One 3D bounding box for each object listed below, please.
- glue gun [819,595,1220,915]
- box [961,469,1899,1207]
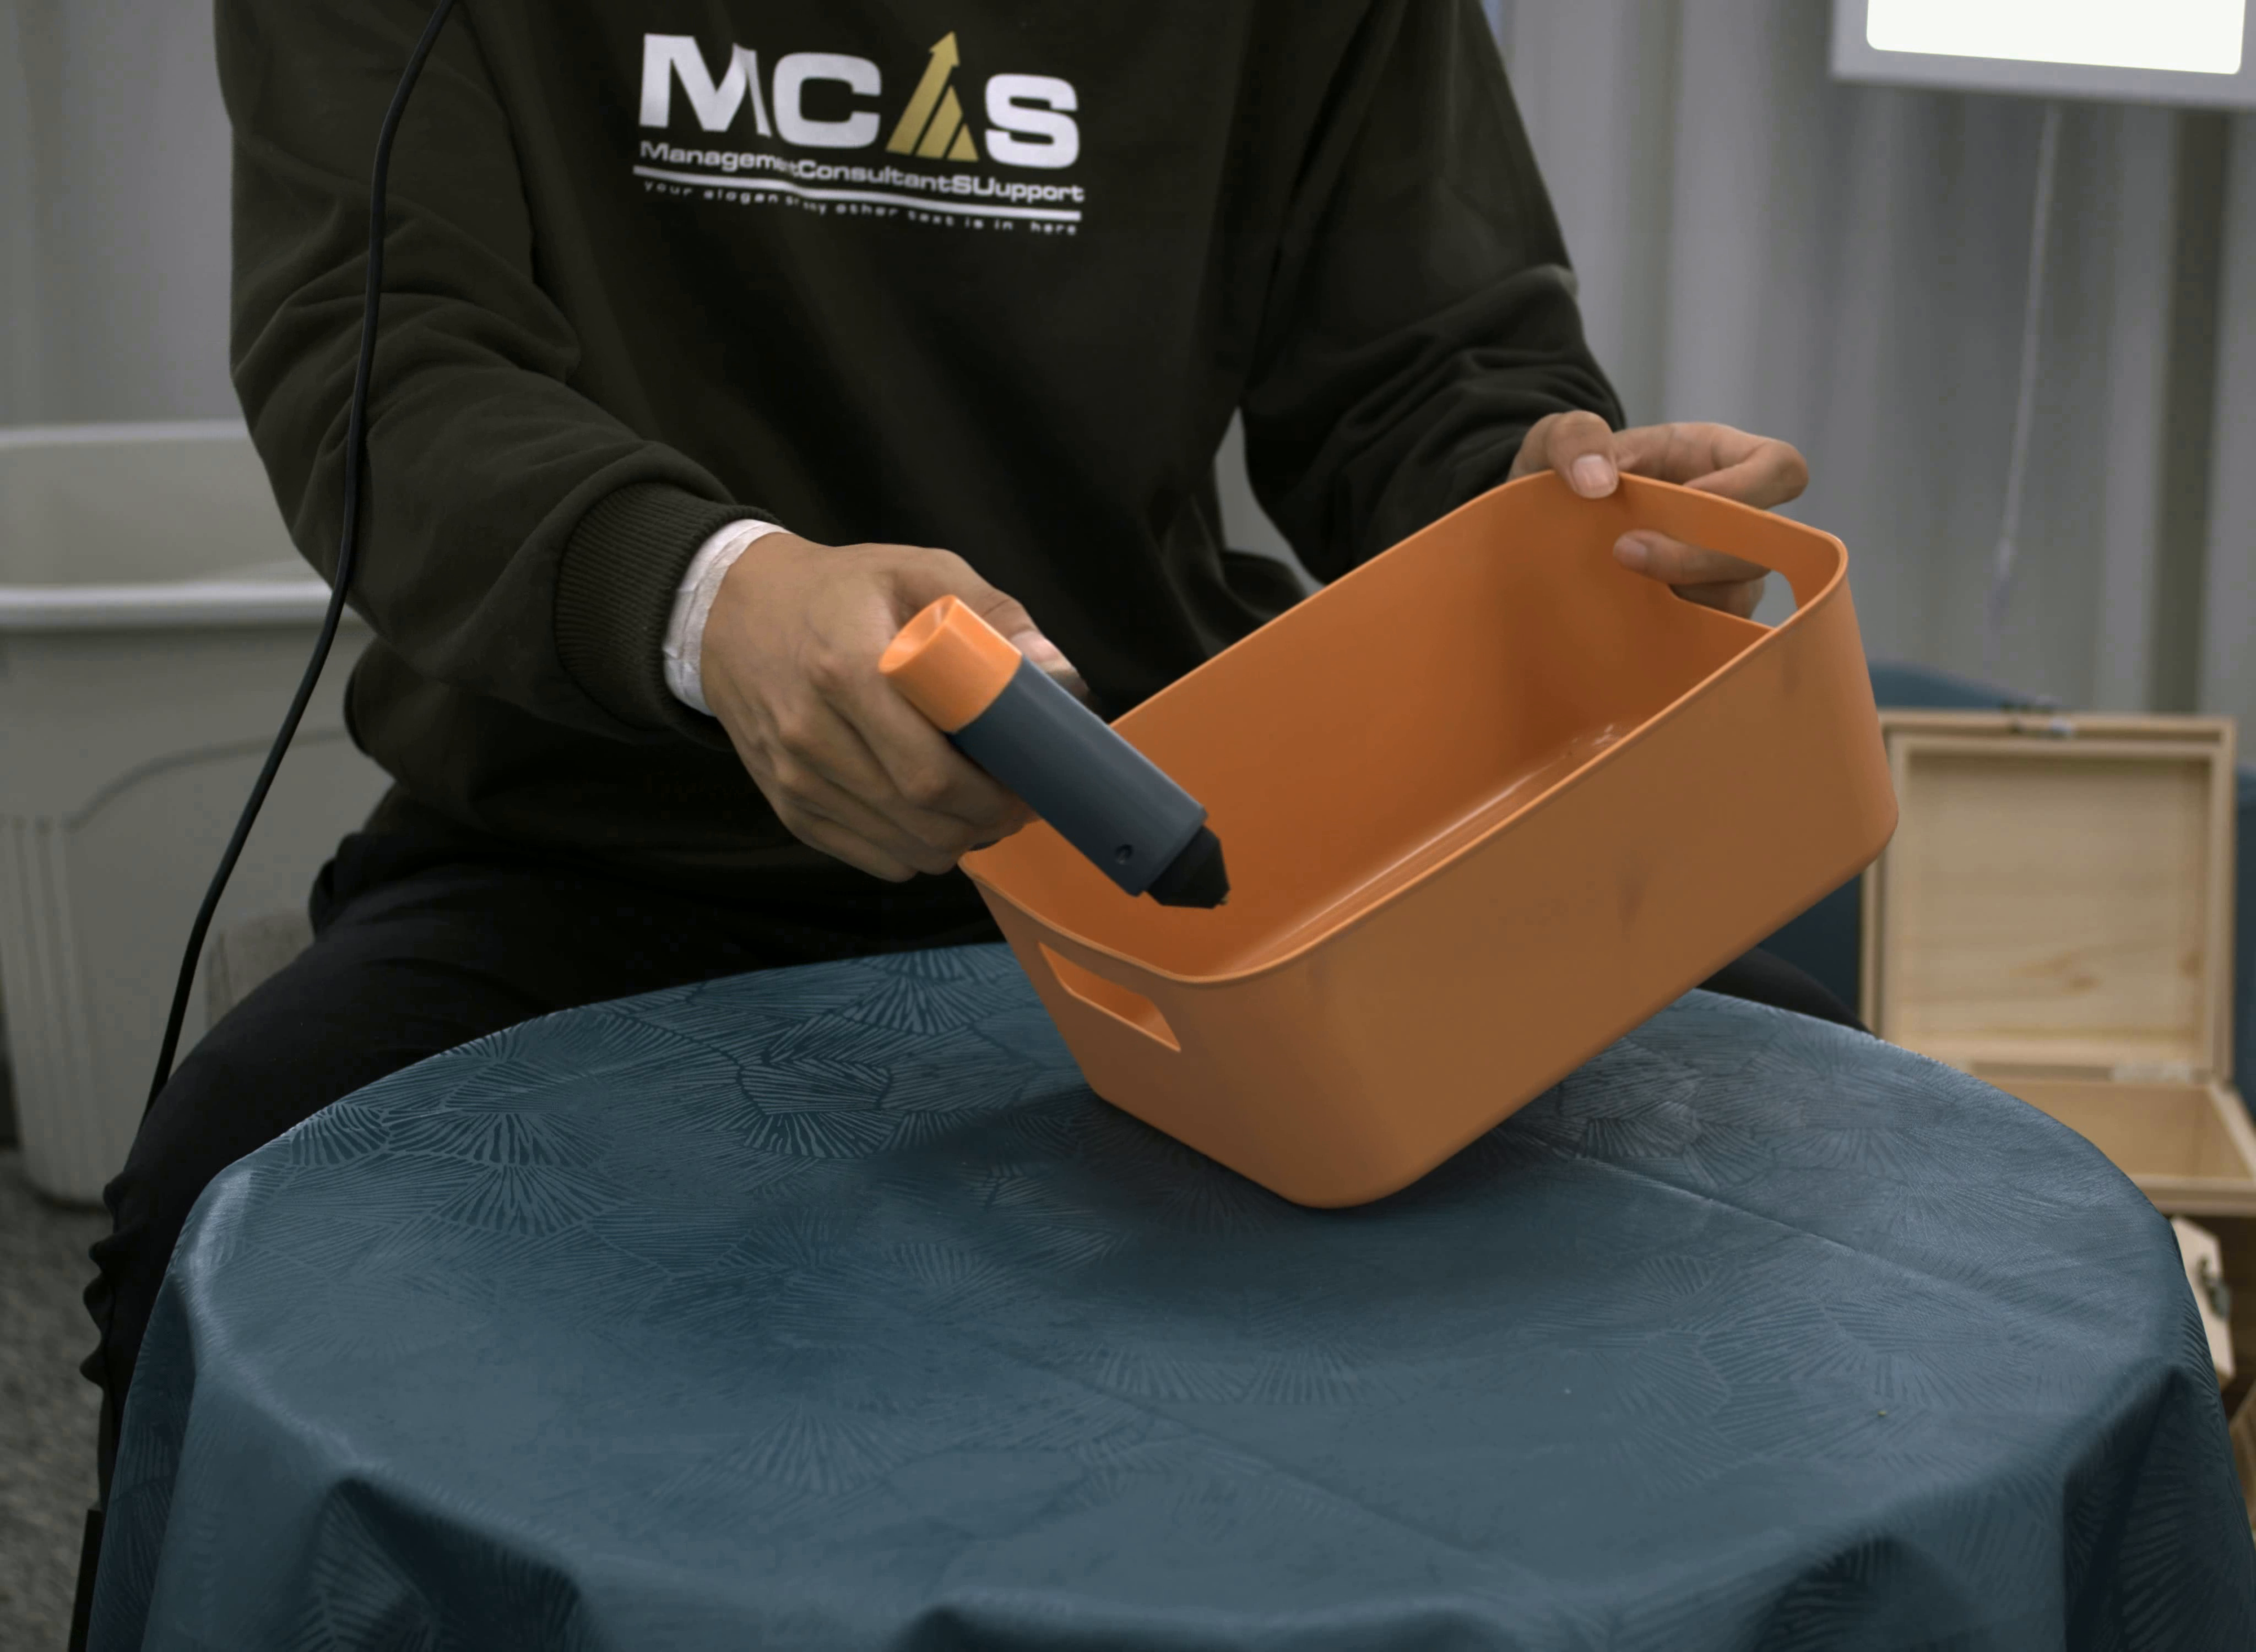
[{"bbox_3d":[-0.035,-0.018,1.594,0.041,0.119,0.138,-48,19,-13],"label":"glue gun"},{"bbox_3d":[0.102,0.003,1.685,0.273,0.104,0.197,-33,28,-21],"label":"box"}]
